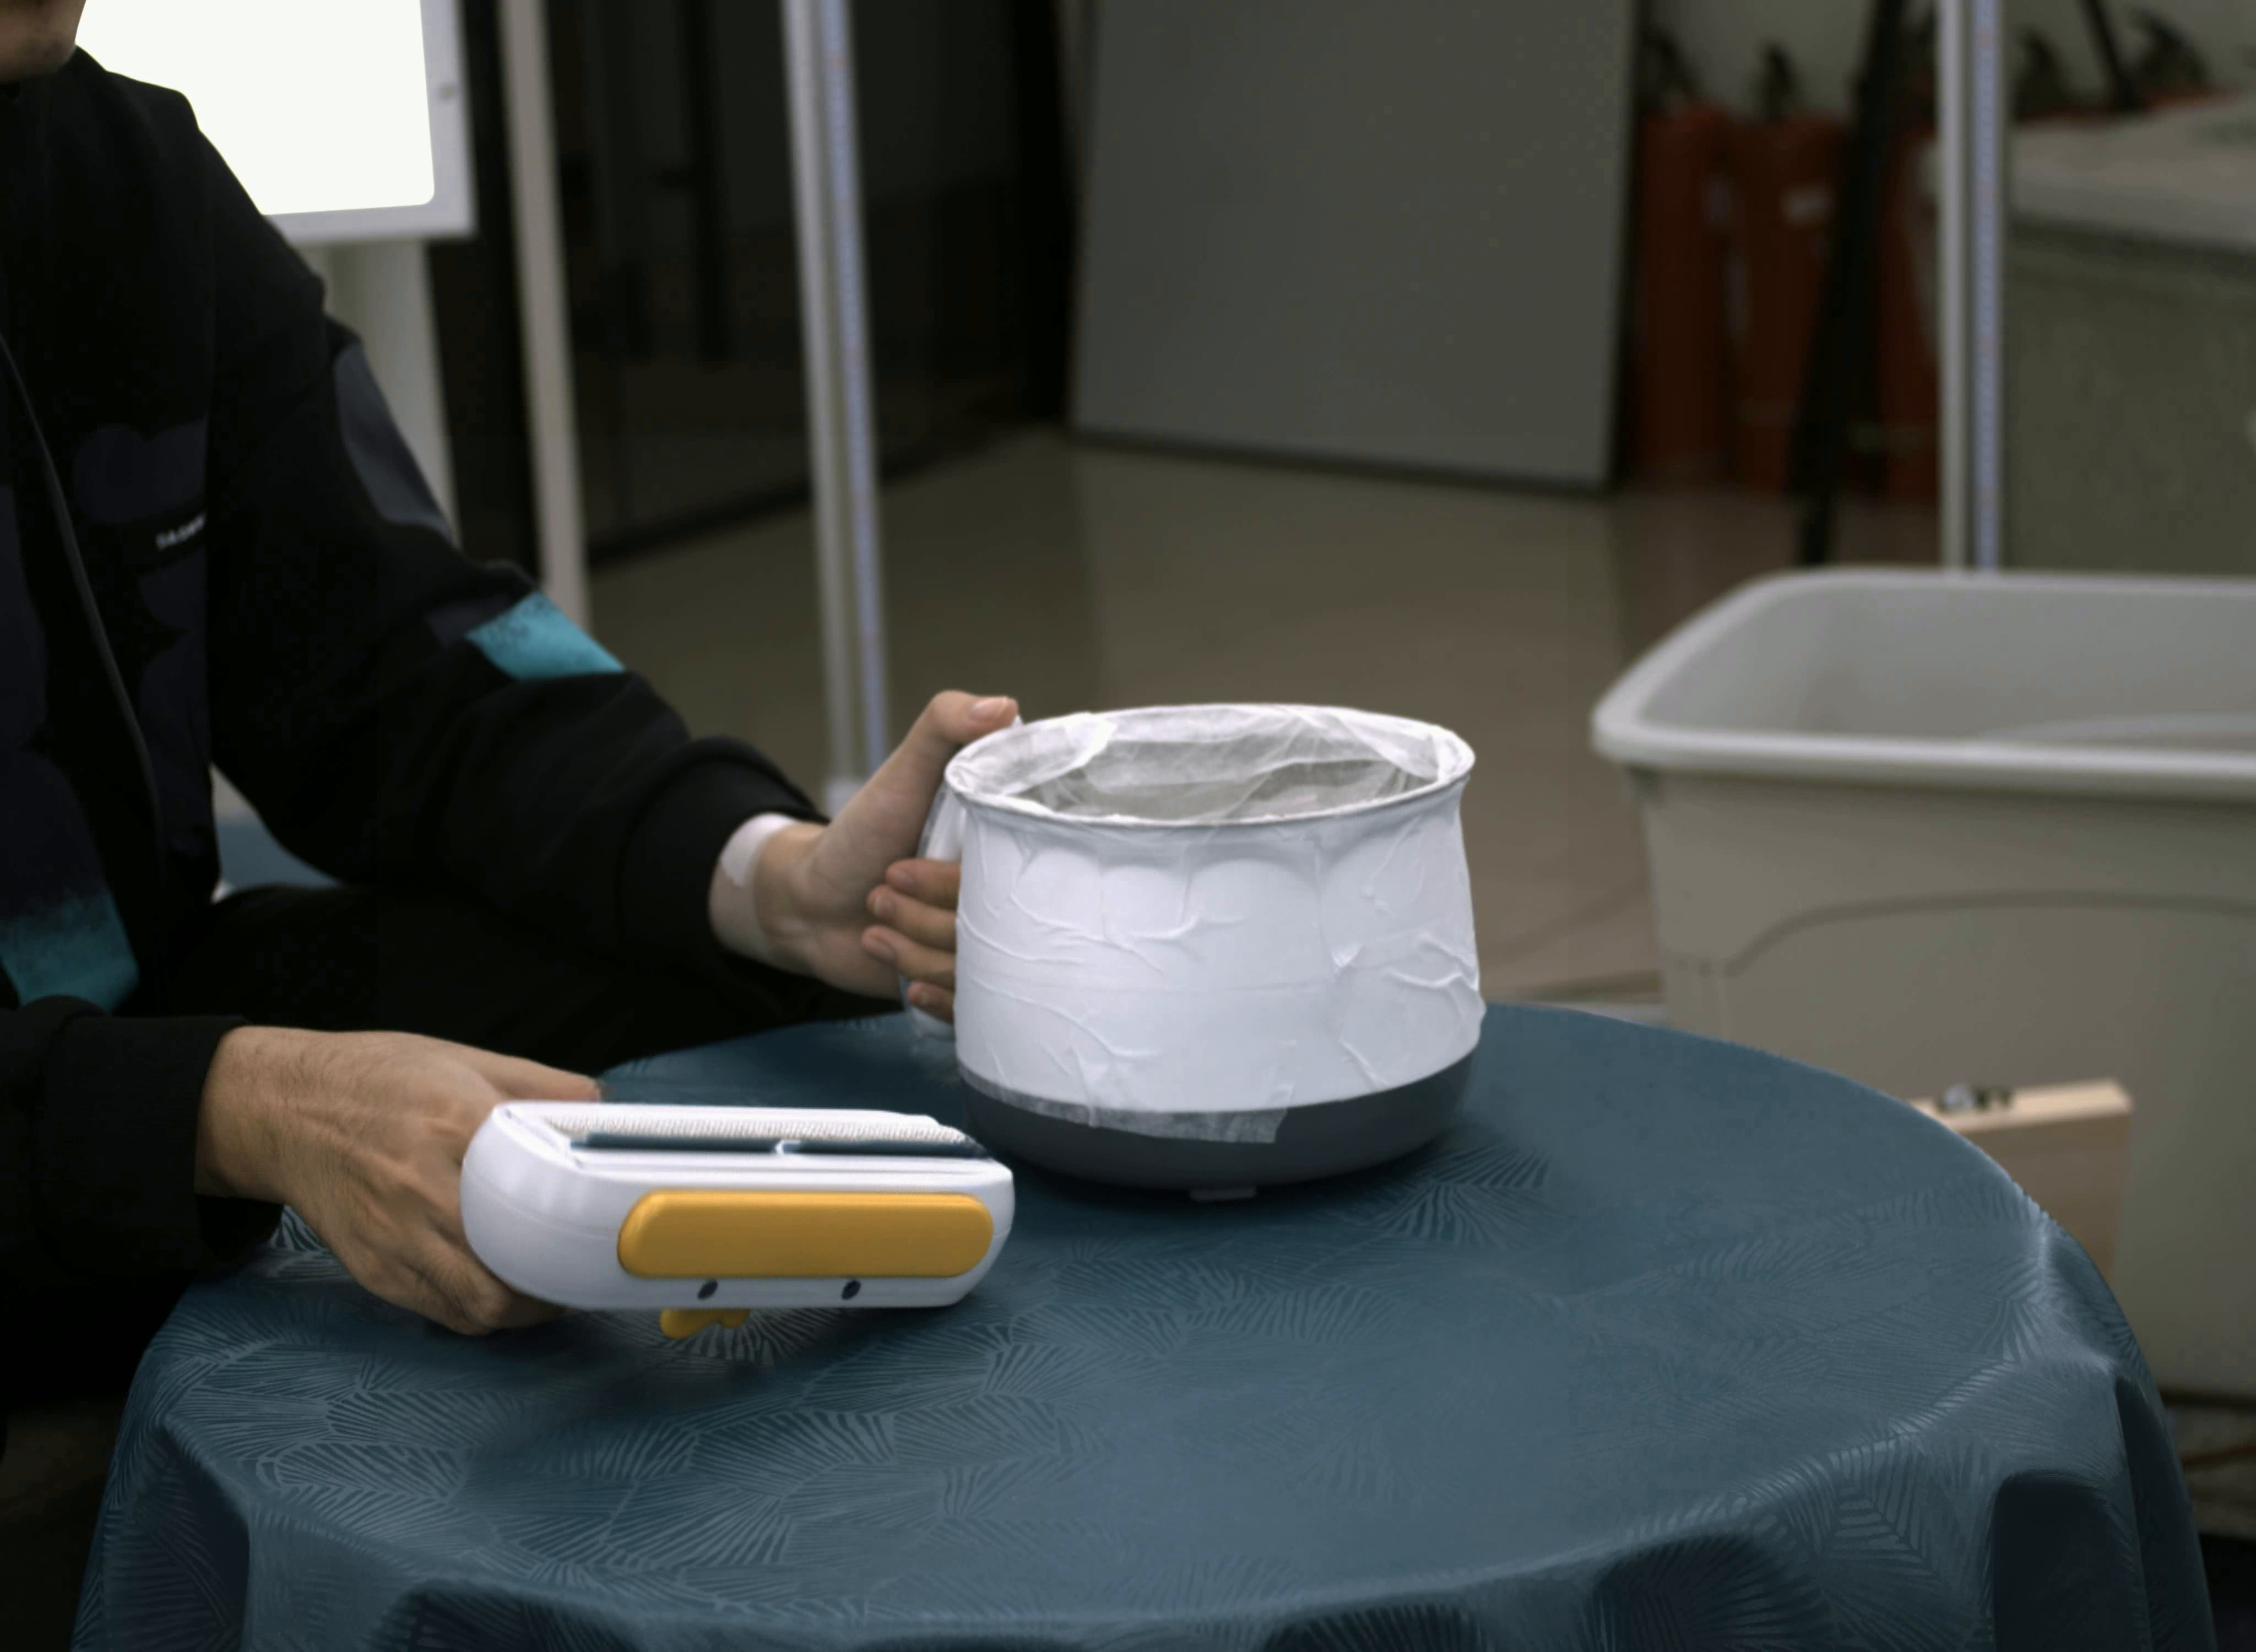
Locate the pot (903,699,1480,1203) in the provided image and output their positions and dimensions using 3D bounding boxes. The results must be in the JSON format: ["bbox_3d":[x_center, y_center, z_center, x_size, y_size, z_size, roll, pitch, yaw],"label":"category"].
[{"bbox_3d":[0.010,0.035,1.815,0.236,0.138,0.175,12,17,44],"label":"pot"}]

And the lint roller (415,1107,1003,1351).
[{"bbox_3d":[-0.158,0.112,1.674,0.188,0.075,0.194,-1,12,-38],"label":"lint roller"}]
